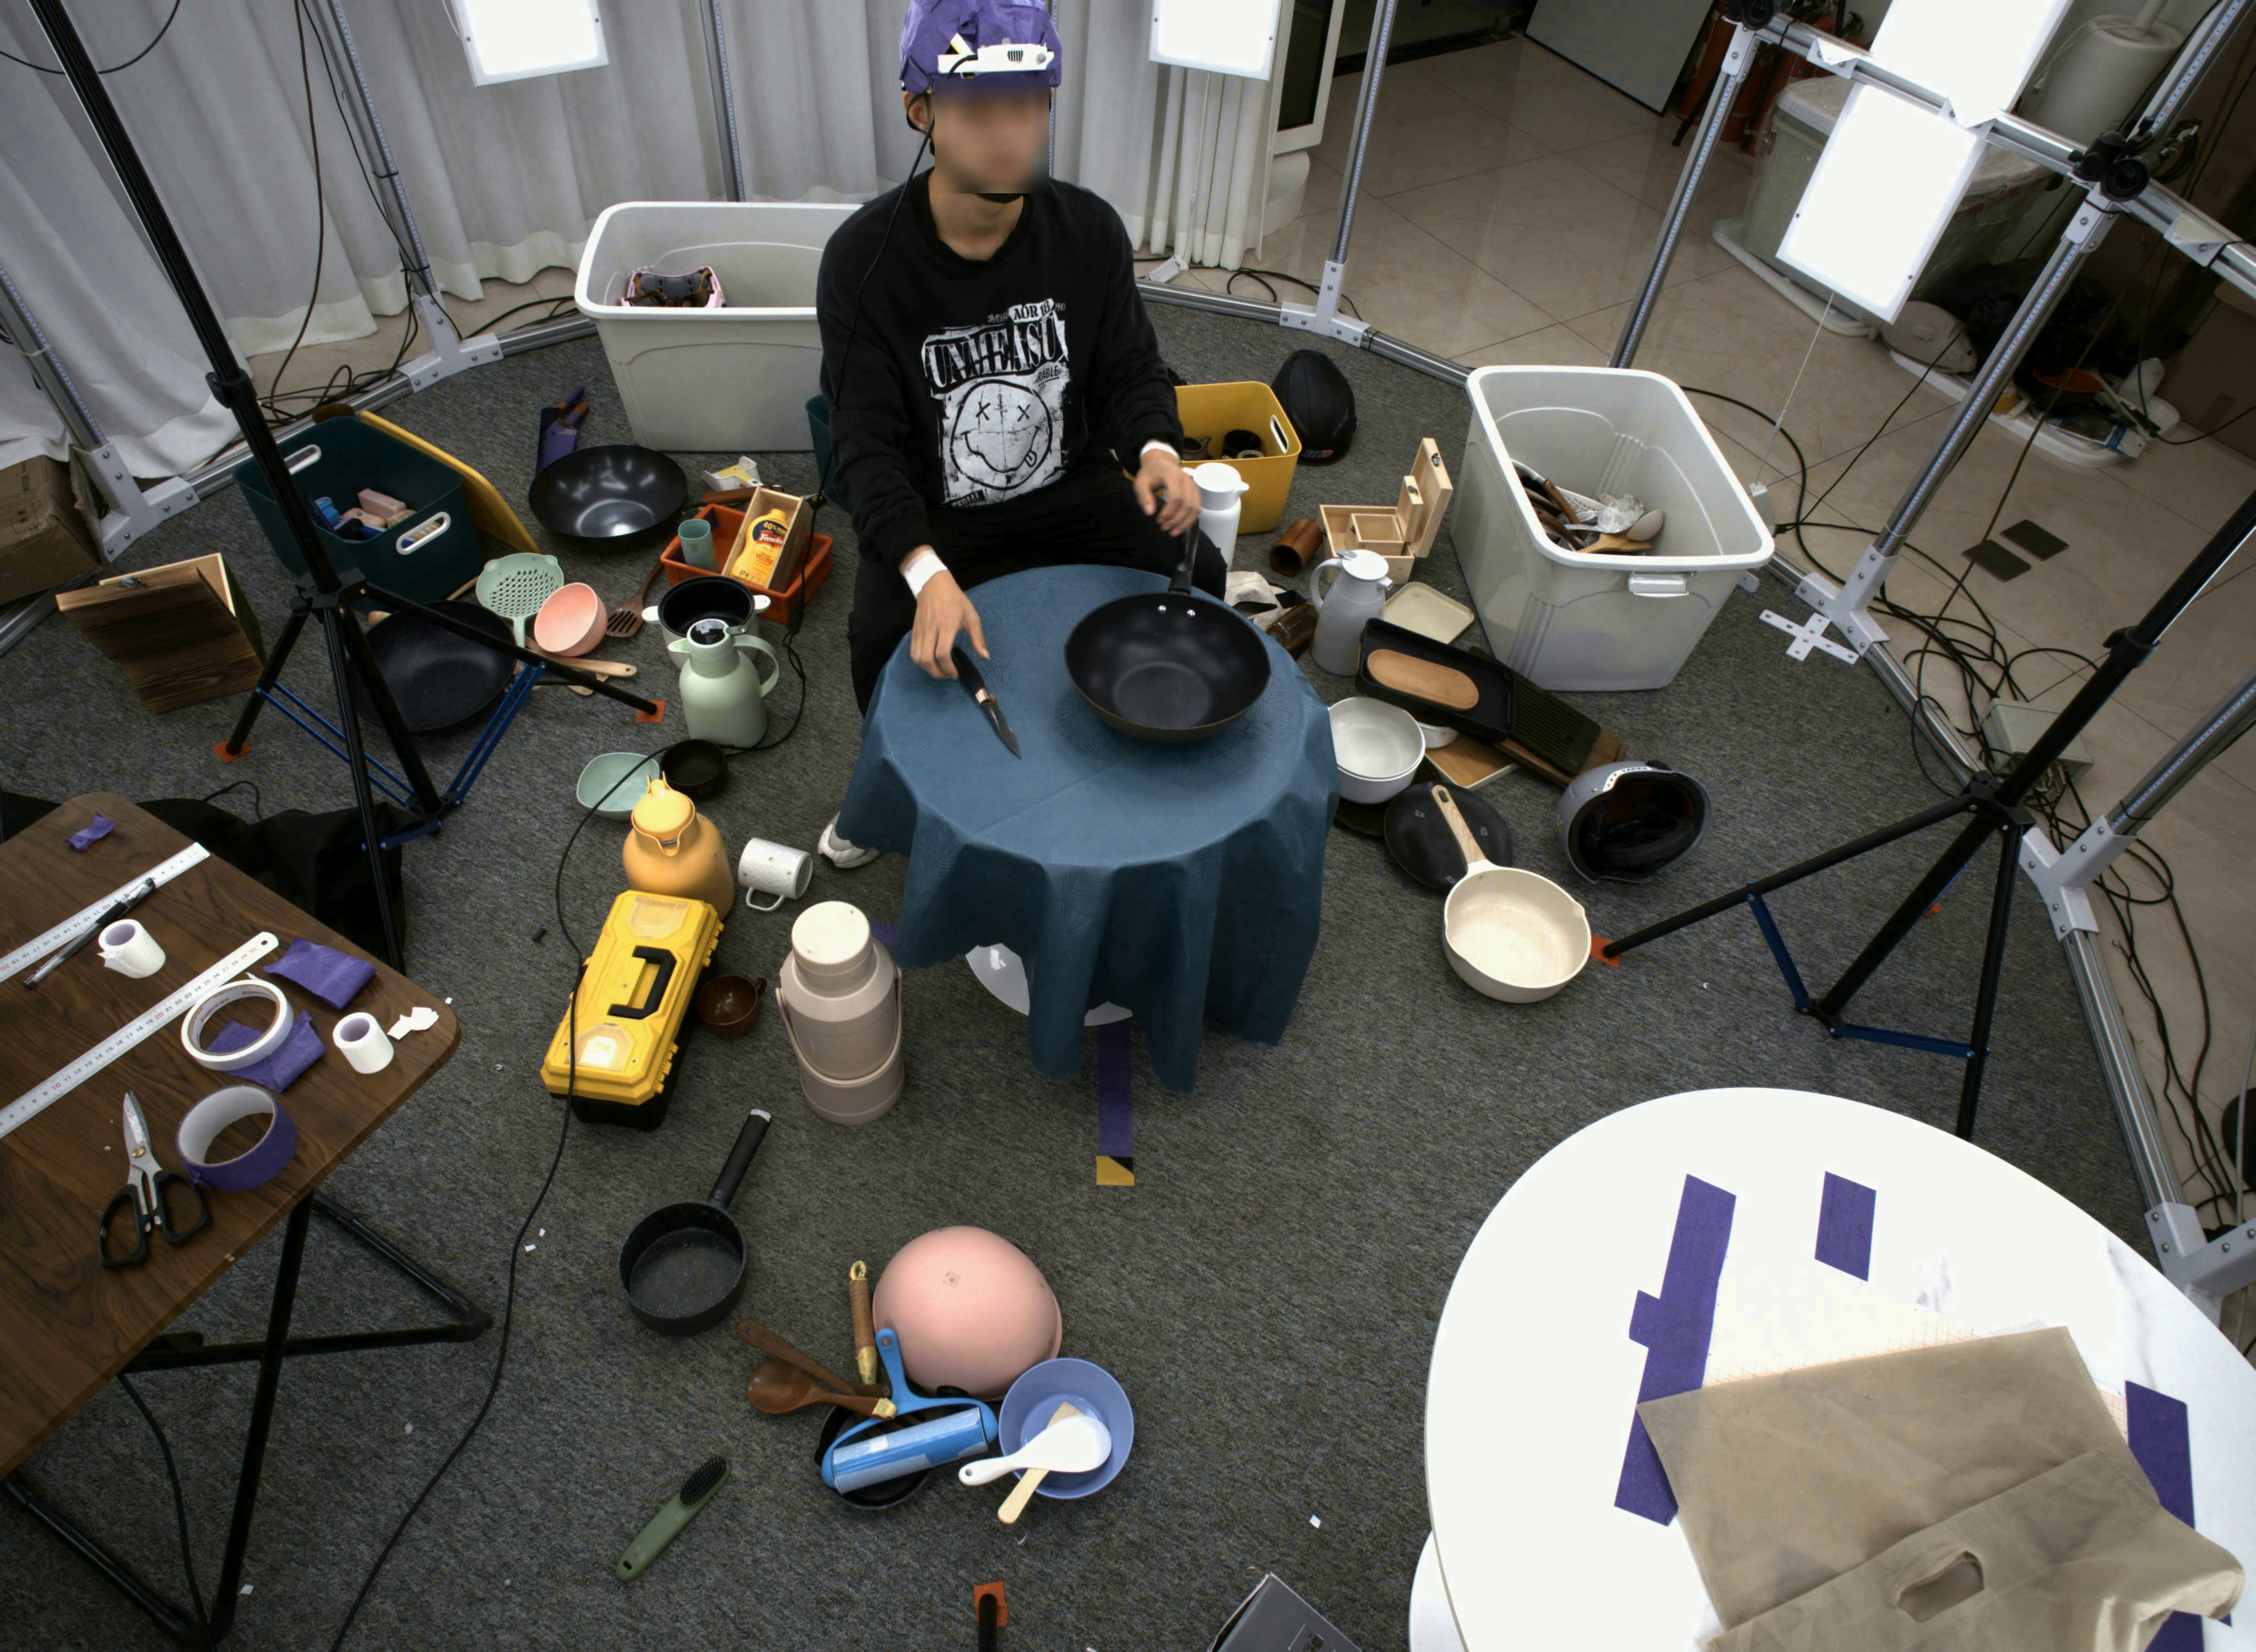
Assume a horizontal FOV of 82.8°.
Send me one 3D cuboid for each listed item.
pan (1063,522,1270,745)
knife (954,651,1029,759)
[{"bbox_3d":[0.064,-0.274,1.859,0.288,0.085,0.474,8,48,3],"label":"pan"},{"bbox_3d":[-0.193,-0.171,1.801,0.026,0.017,0.230,-9,50,-31],"label":"knife"}]
